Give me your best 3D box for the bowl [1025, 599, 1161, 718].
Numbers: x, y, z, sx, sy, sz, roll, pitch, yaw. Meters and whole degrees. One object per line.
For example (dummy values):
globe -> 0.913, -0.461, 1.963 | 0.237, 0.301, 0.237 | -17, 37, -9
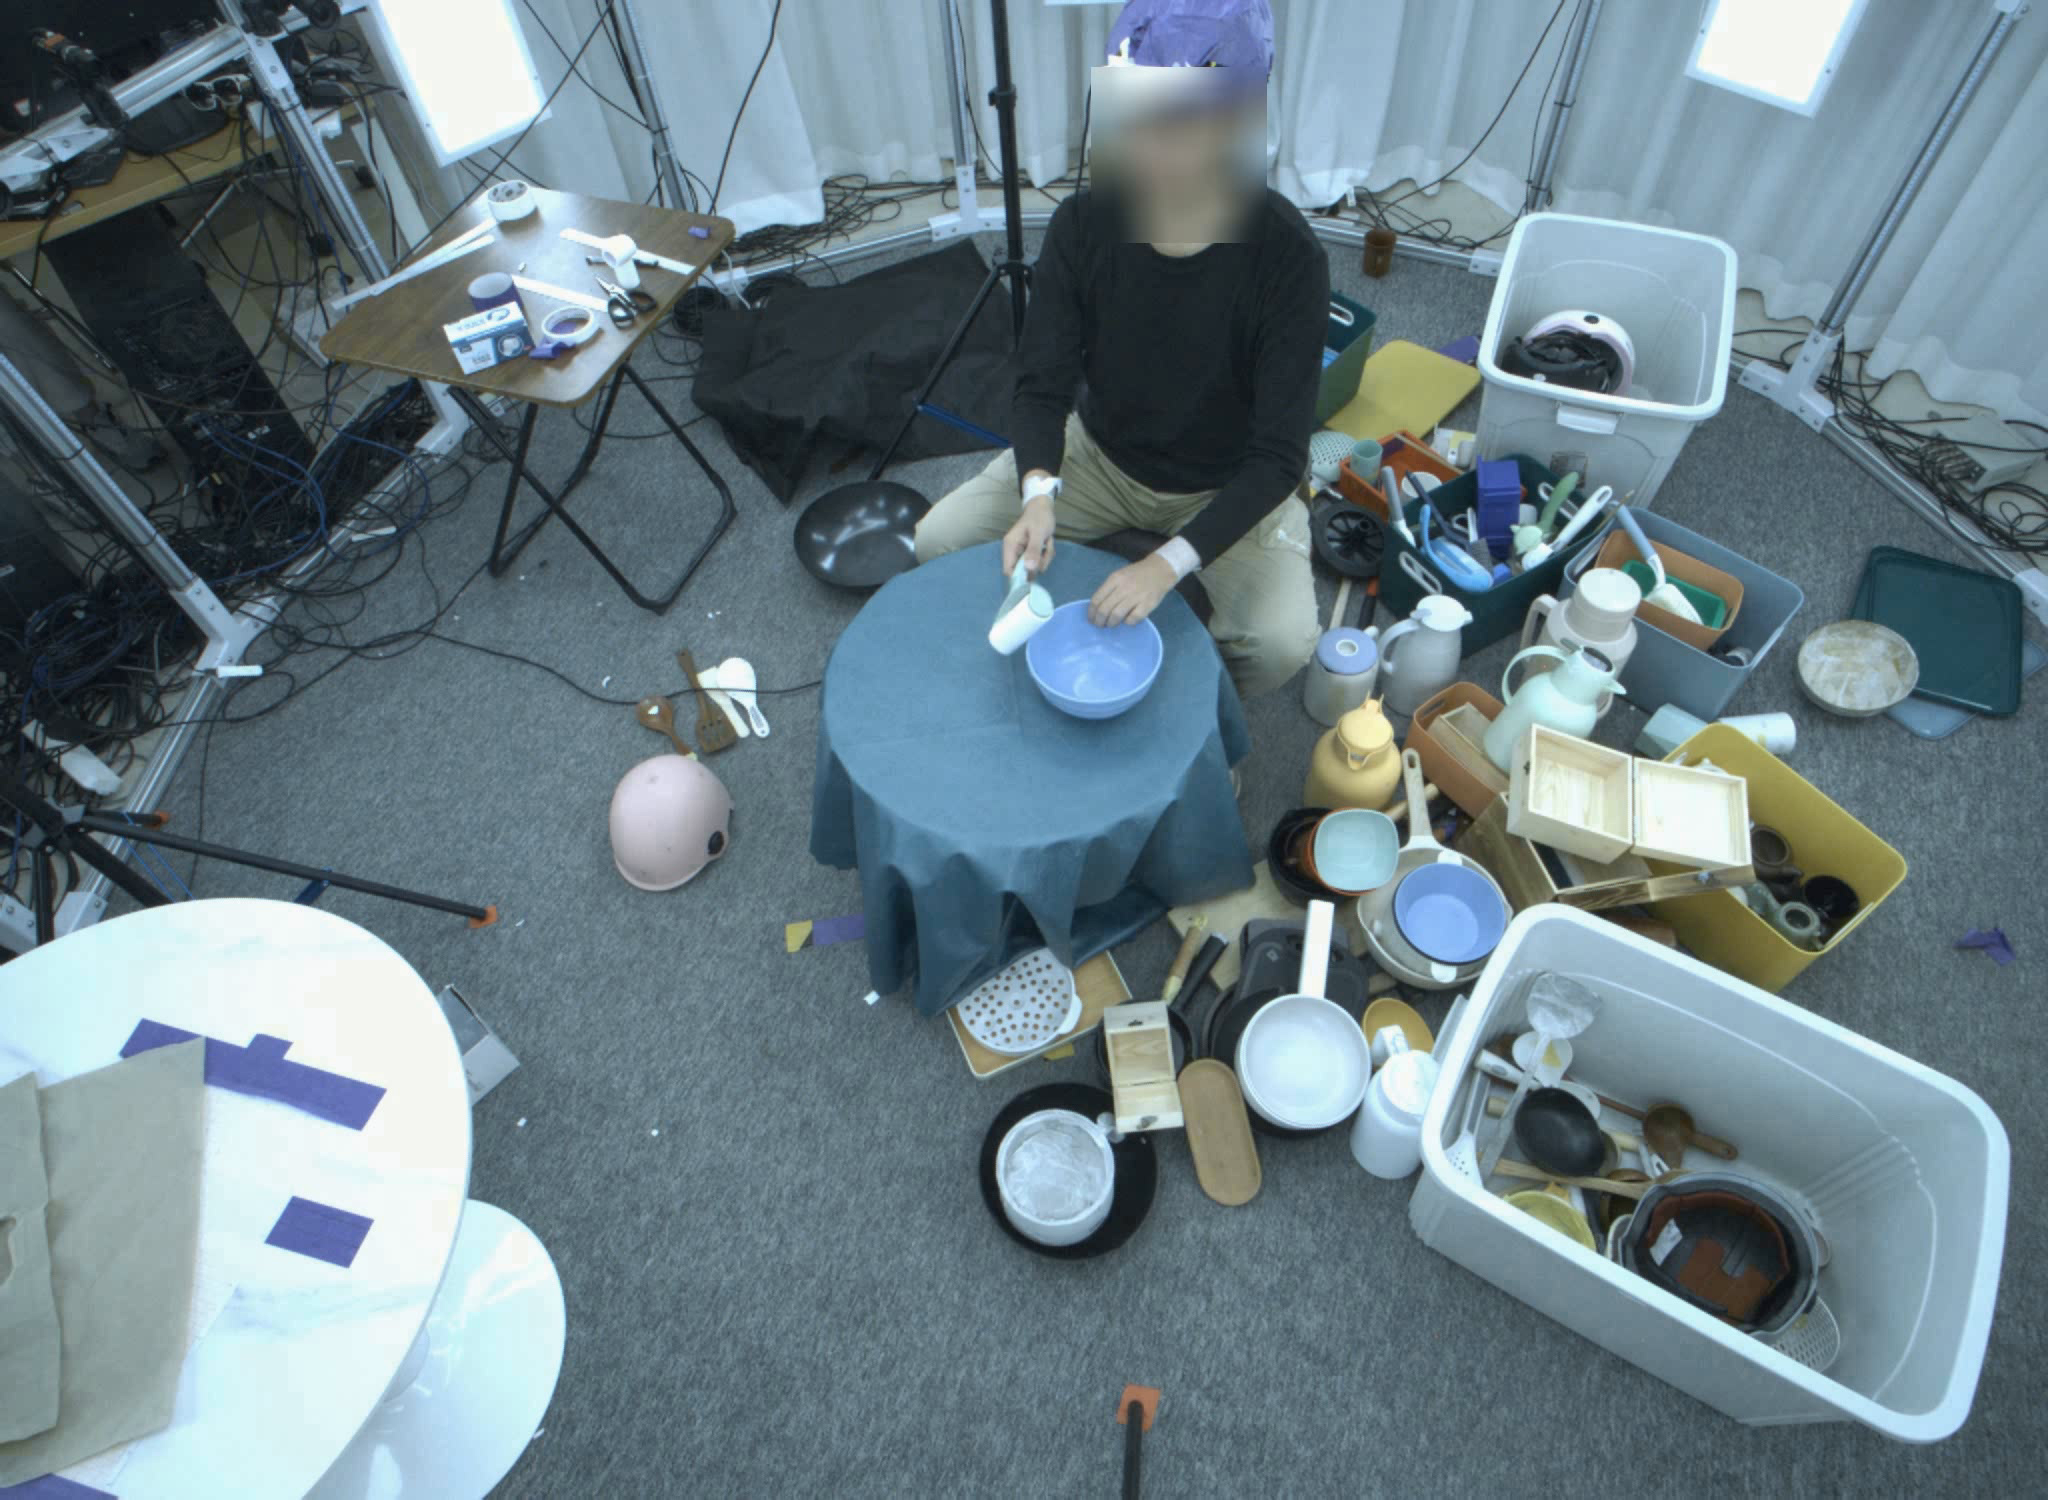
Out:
bowl -> 0.103, -0.120, 1.809 | 0.196, 0.096, 0.194 | -1, 55, 3

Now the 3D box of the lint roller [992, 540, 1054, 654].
lint roller -> 0.006, -0.243, 1.803 | 0.049, 0.115, 0.196 | 23, 53, -22
